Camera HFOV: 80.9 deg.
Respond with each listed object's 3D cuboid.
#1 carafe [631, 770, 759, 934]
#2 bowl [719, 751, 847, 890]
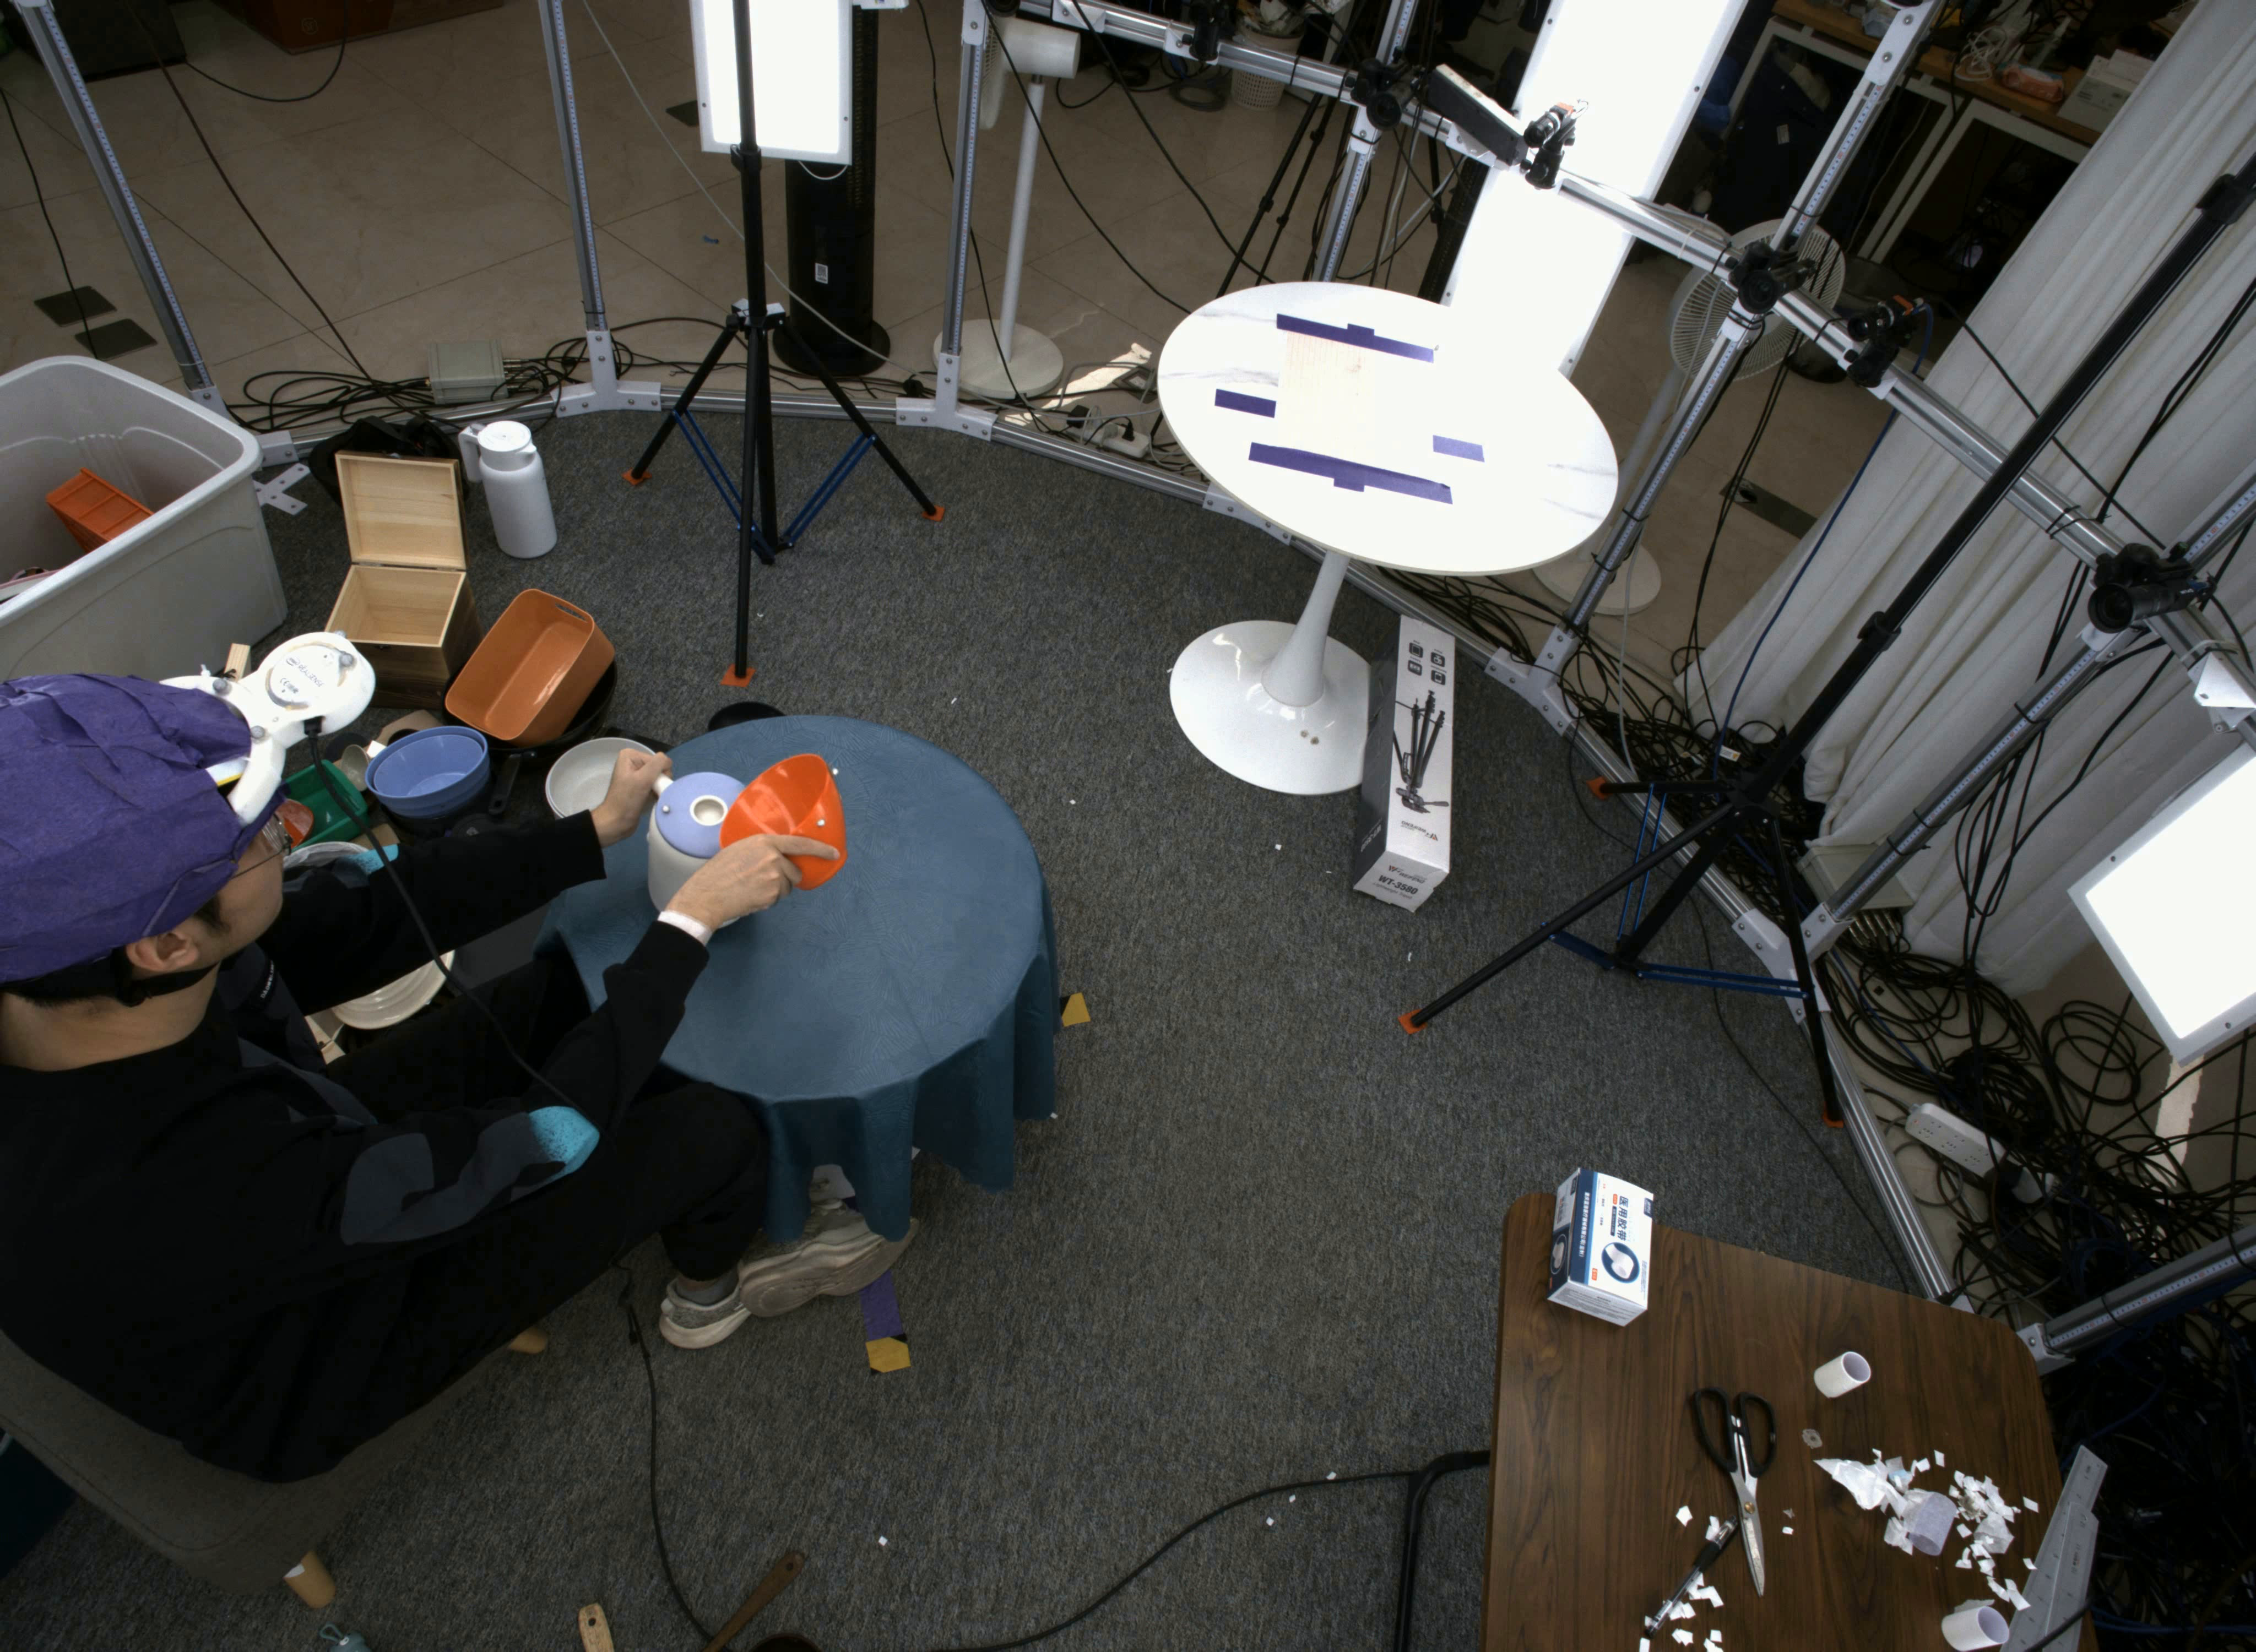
[{"bbox_3d":[-0.528,0.016,1.550,0.189,0.185,0.132,36,51,8],"label":"carafe"},{"bbox_3d":[-0.365,0.003,1.425,0.146,0.108,0.145,-24,31,17],"label":"bowl"}]
